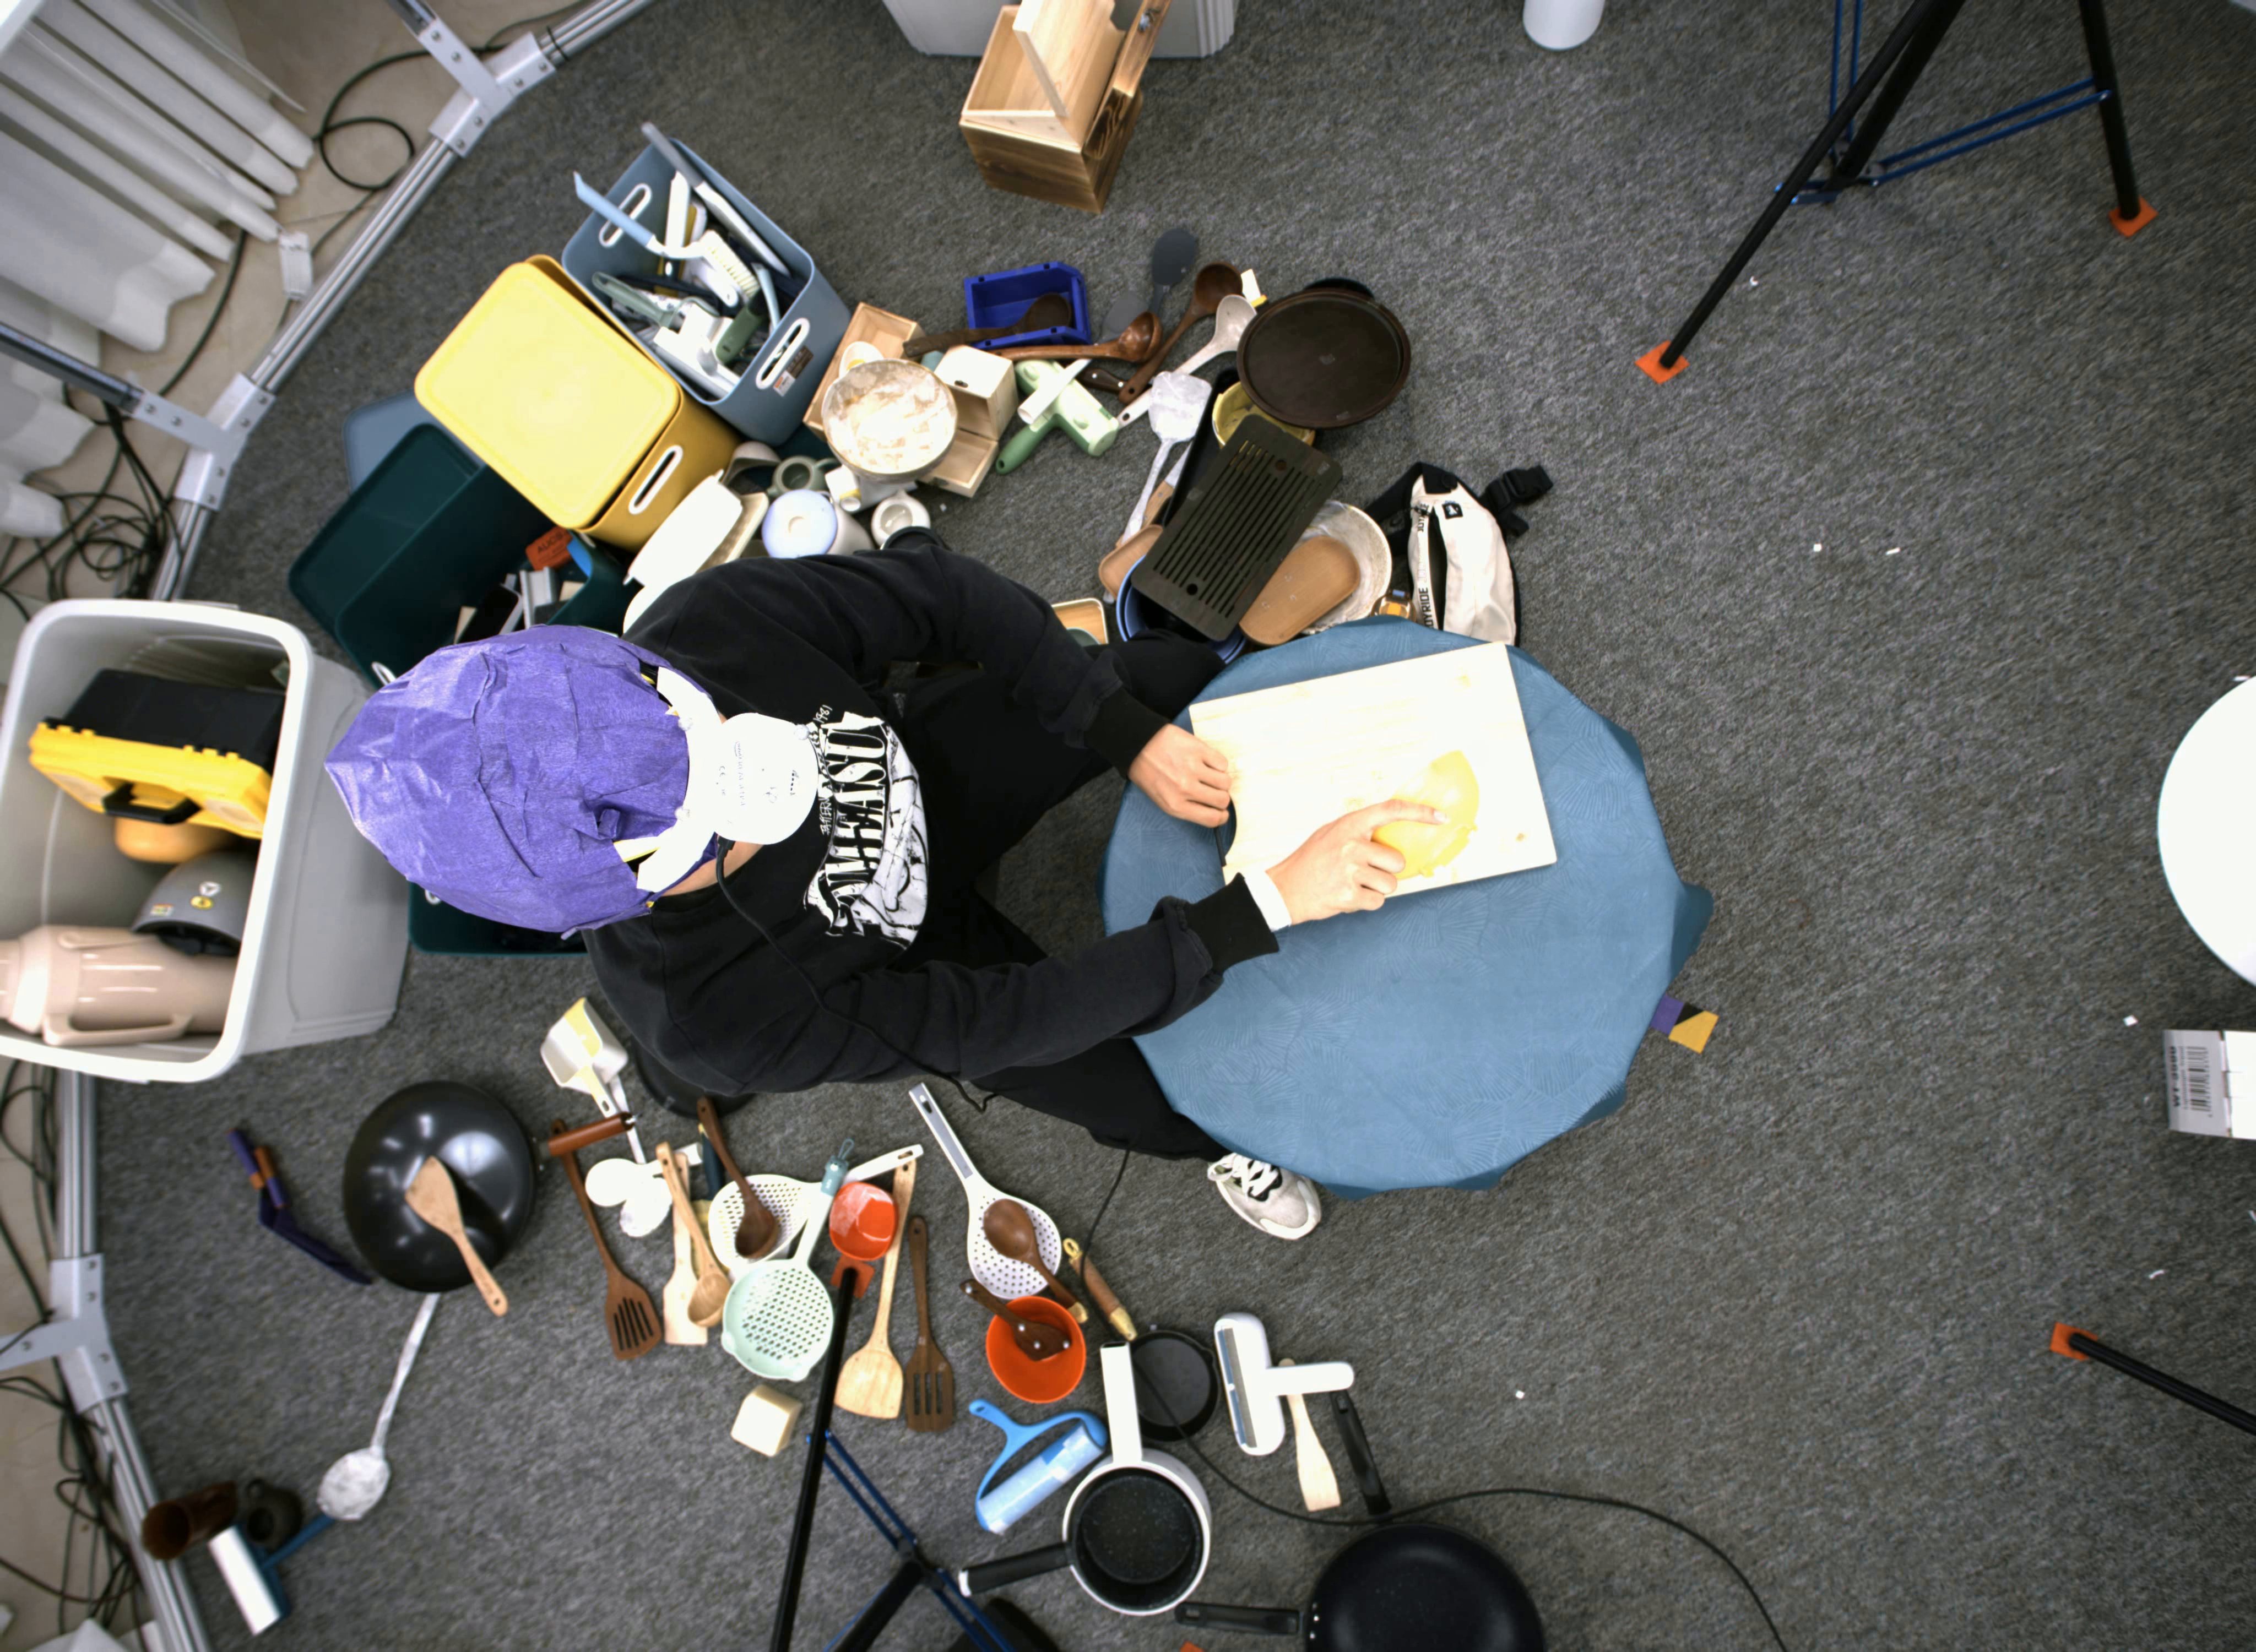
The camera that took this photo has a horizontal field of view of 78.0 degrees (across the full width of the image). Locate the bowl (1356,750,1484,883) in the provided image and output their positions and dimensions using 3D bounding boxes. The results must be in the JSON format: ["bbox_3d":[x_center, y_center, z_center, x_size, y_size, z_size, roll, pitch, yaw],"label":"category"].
[{"bbox_3d":[0.280,0.003,1.257,0.146,0.146,0.059,-46,67,3],"label":"bowl"}]

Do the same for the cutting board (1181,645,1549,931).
[{"bbox_3d":[0.250,-0.042,1.447,0.349,0.023,0.249,-13,84,2],"label":"cutting board"}]
